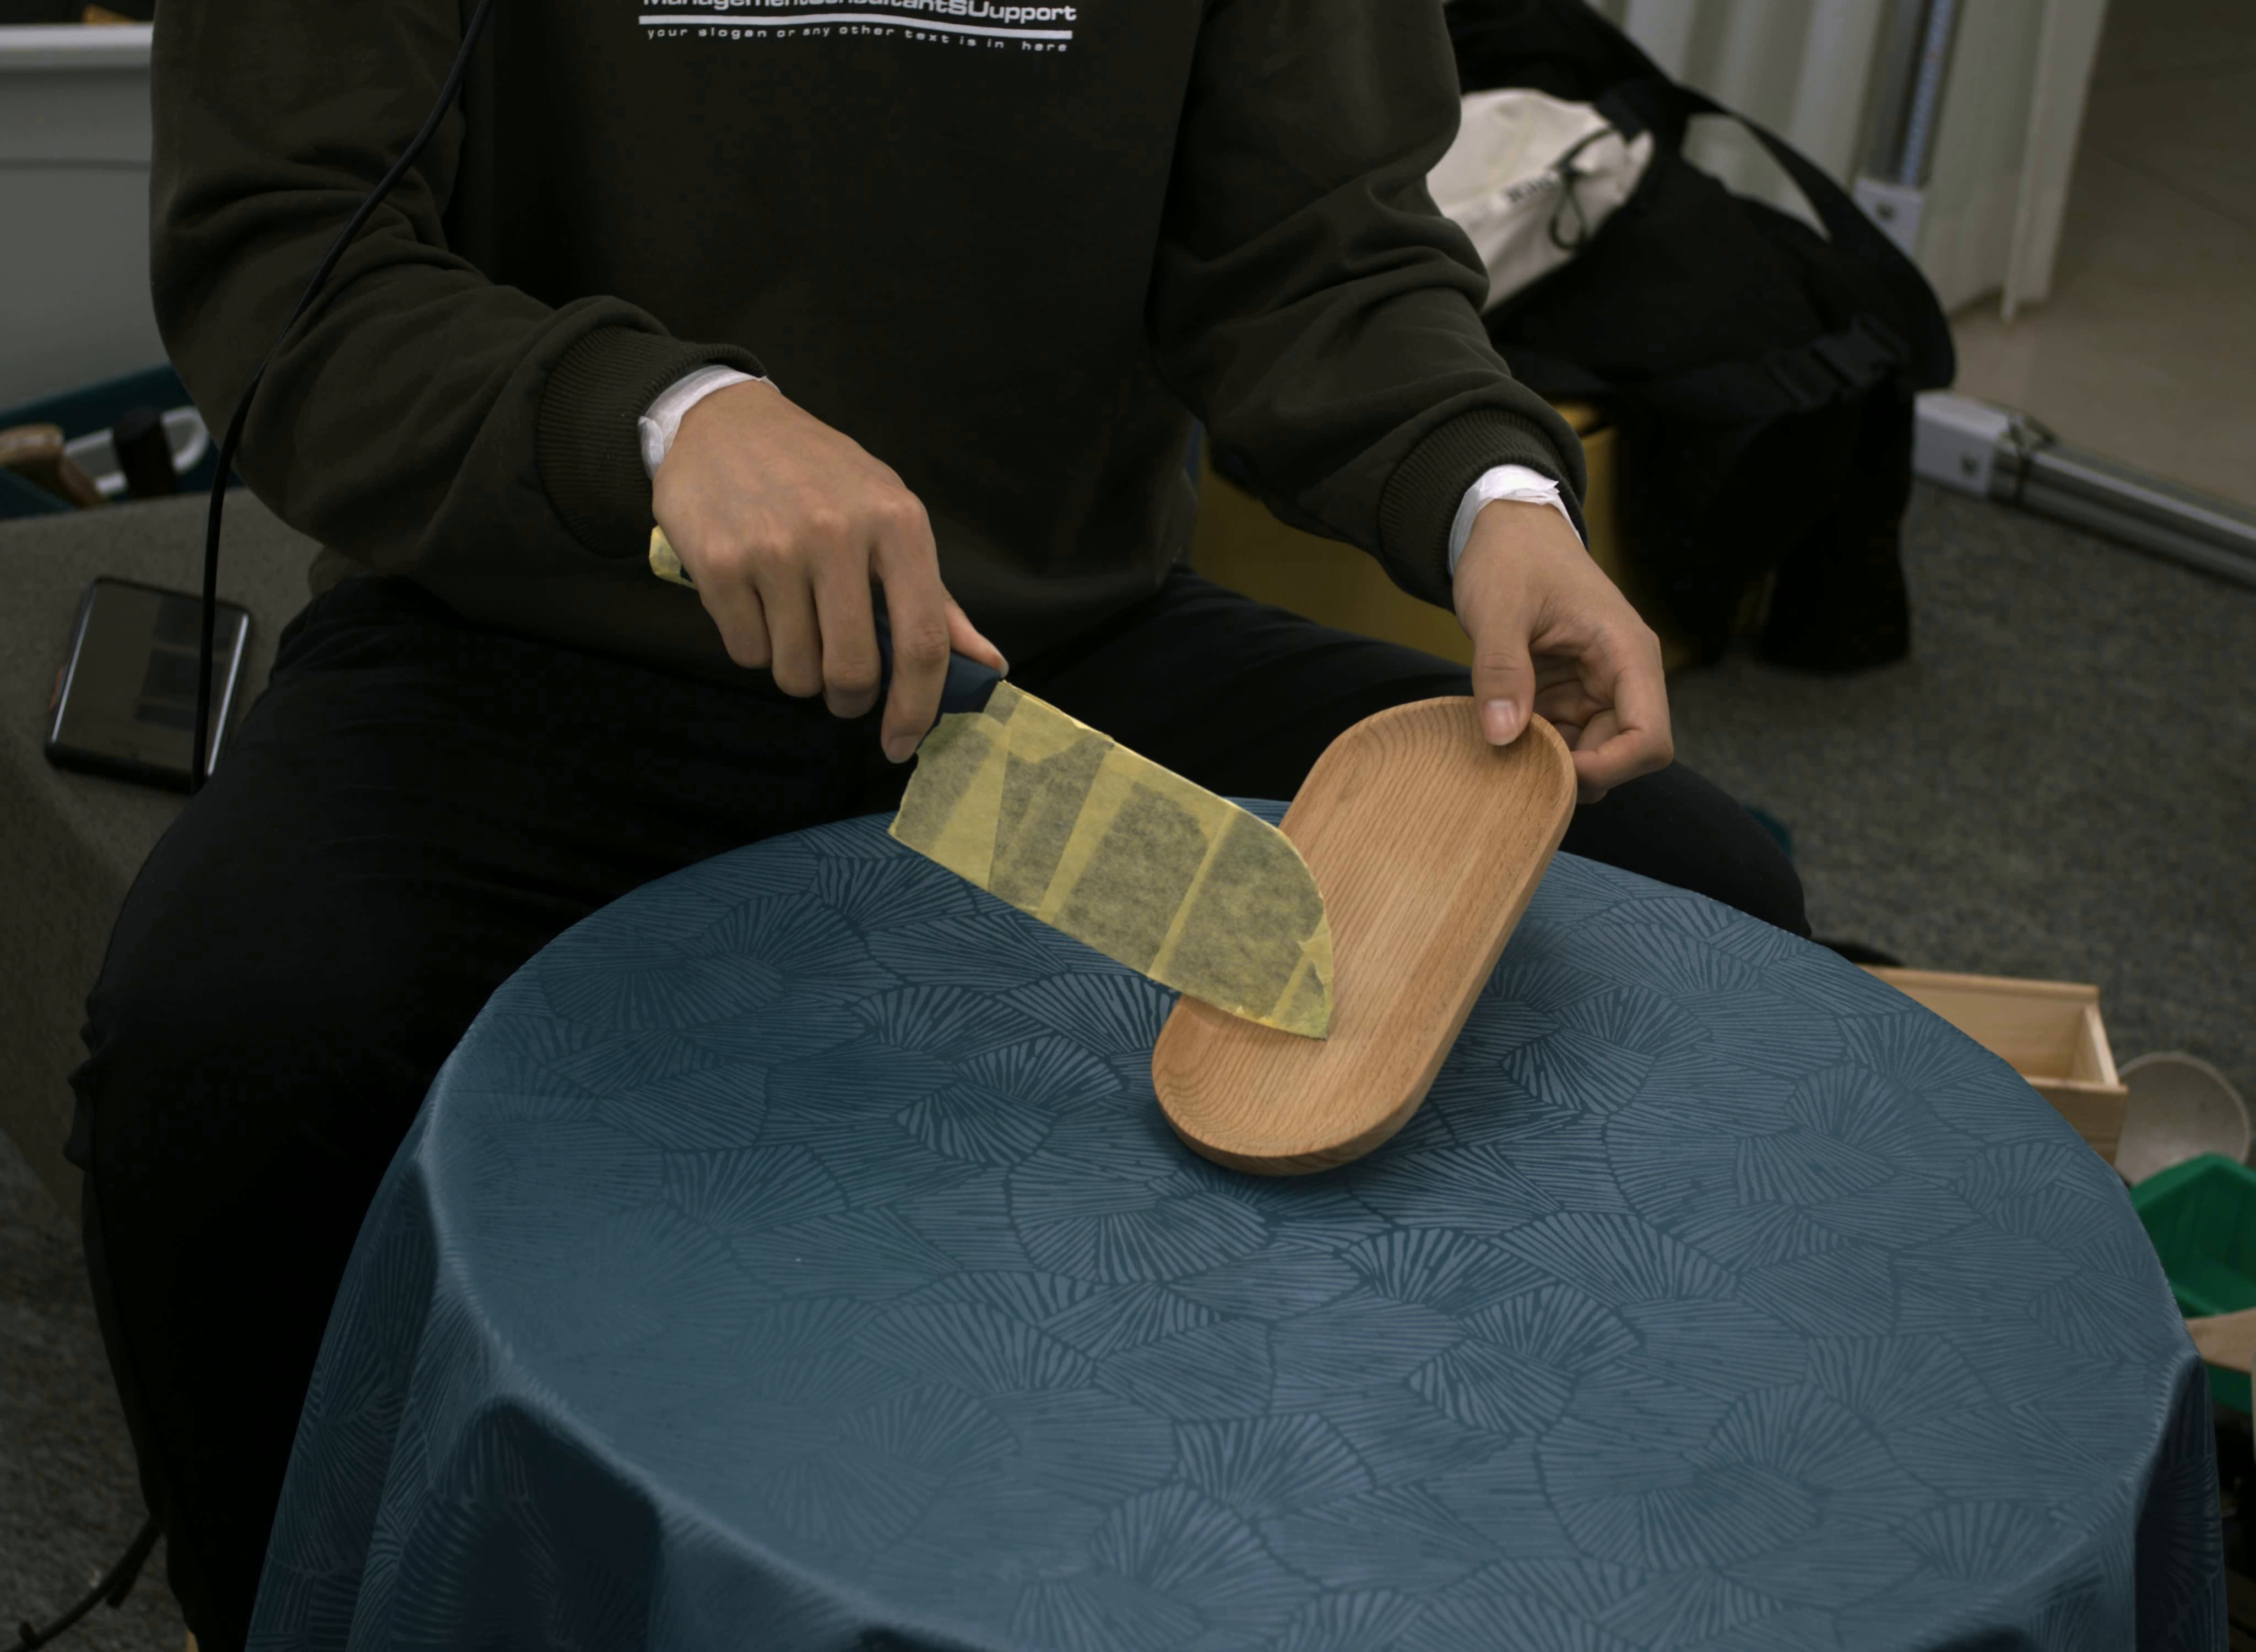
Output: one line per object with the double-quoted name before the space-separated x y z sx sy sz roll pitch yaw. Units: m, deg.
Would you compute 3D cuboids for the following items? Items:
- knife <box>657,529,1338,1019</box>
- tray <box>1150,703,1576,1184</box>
"knife" -0.049 -0.018 1.871 0.290 0.081 0.027 32 18 11
"tray" 0.085 0.040 1.882 0.102 0.020 0.232 8 49 27
